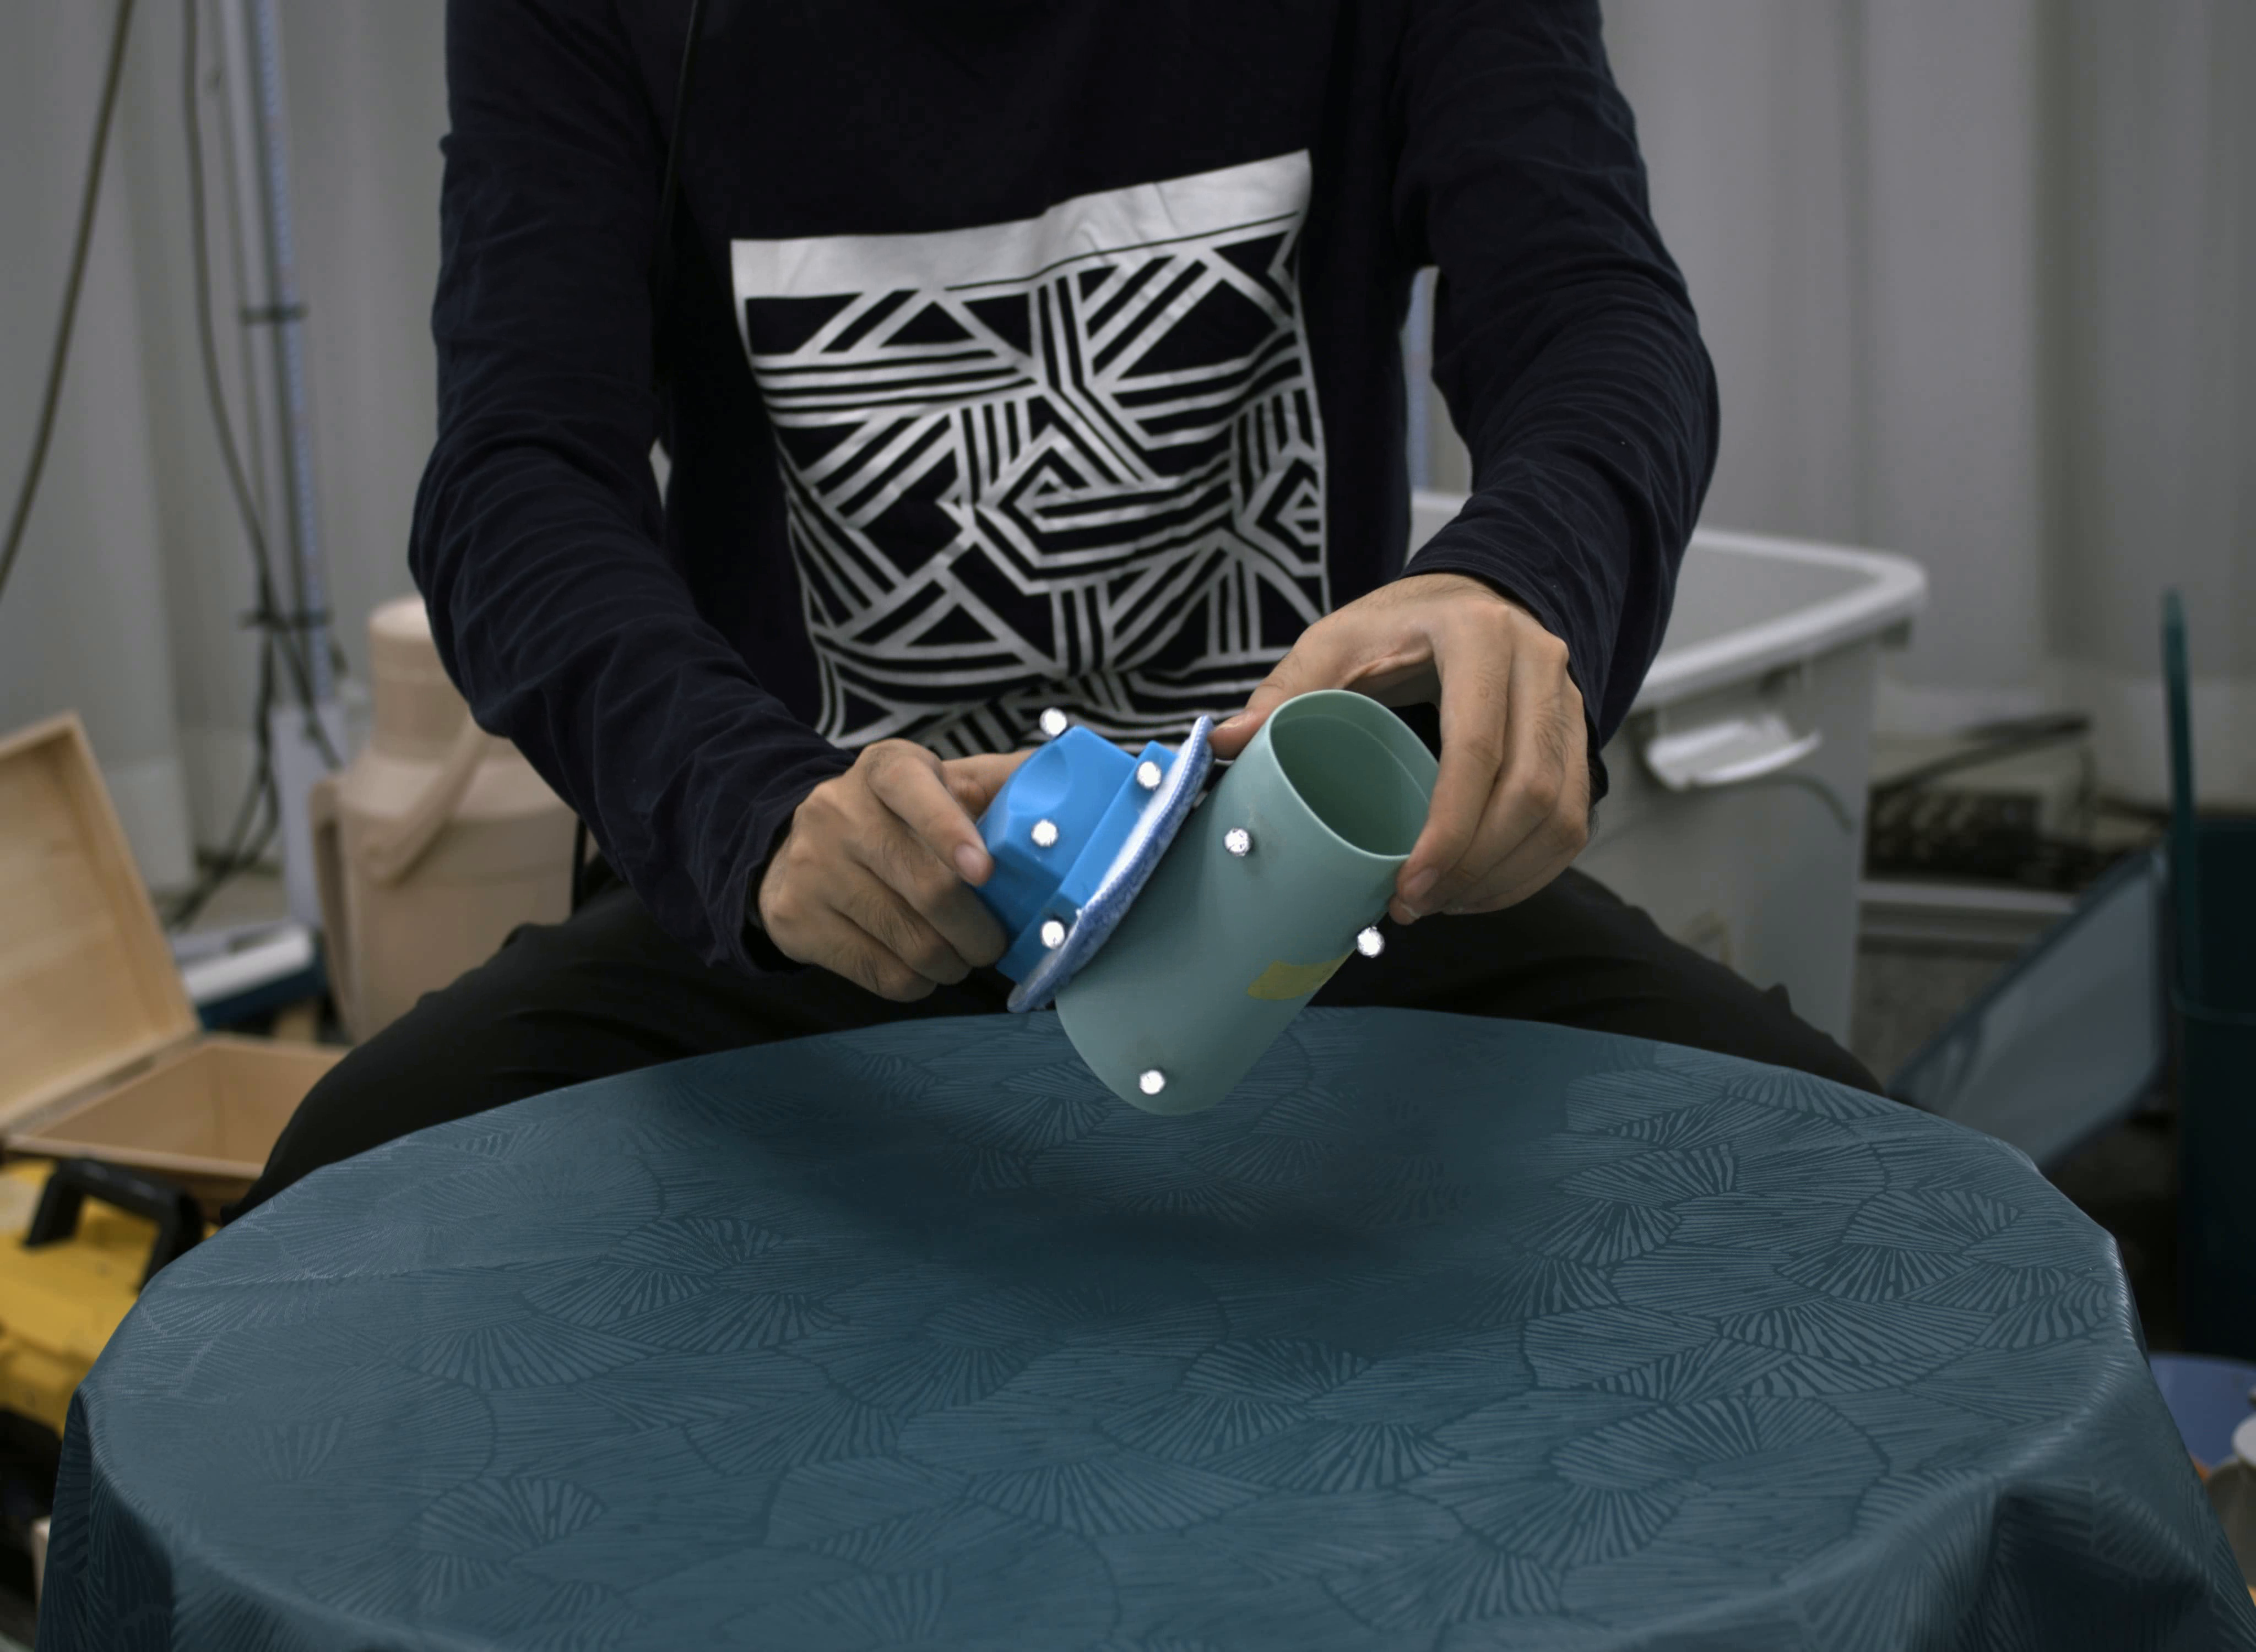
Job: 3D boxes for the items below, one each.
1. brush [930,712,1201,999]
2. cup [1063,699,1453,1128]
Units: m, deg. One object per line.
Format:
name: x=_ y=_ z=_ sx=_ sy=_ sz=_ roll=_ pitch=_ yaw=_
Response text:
brush: x=-0.026 y=0.003 z=1.664 sx=0.056 sy=0.084 sz=0.143 roll=38 pitch=-16 yaw=-3
cup: x=0.037 y=0.026 z=1.638 sx=0.066 sy=0.131 sz=0.068 roll=19 pitch=42 yaw=-19
